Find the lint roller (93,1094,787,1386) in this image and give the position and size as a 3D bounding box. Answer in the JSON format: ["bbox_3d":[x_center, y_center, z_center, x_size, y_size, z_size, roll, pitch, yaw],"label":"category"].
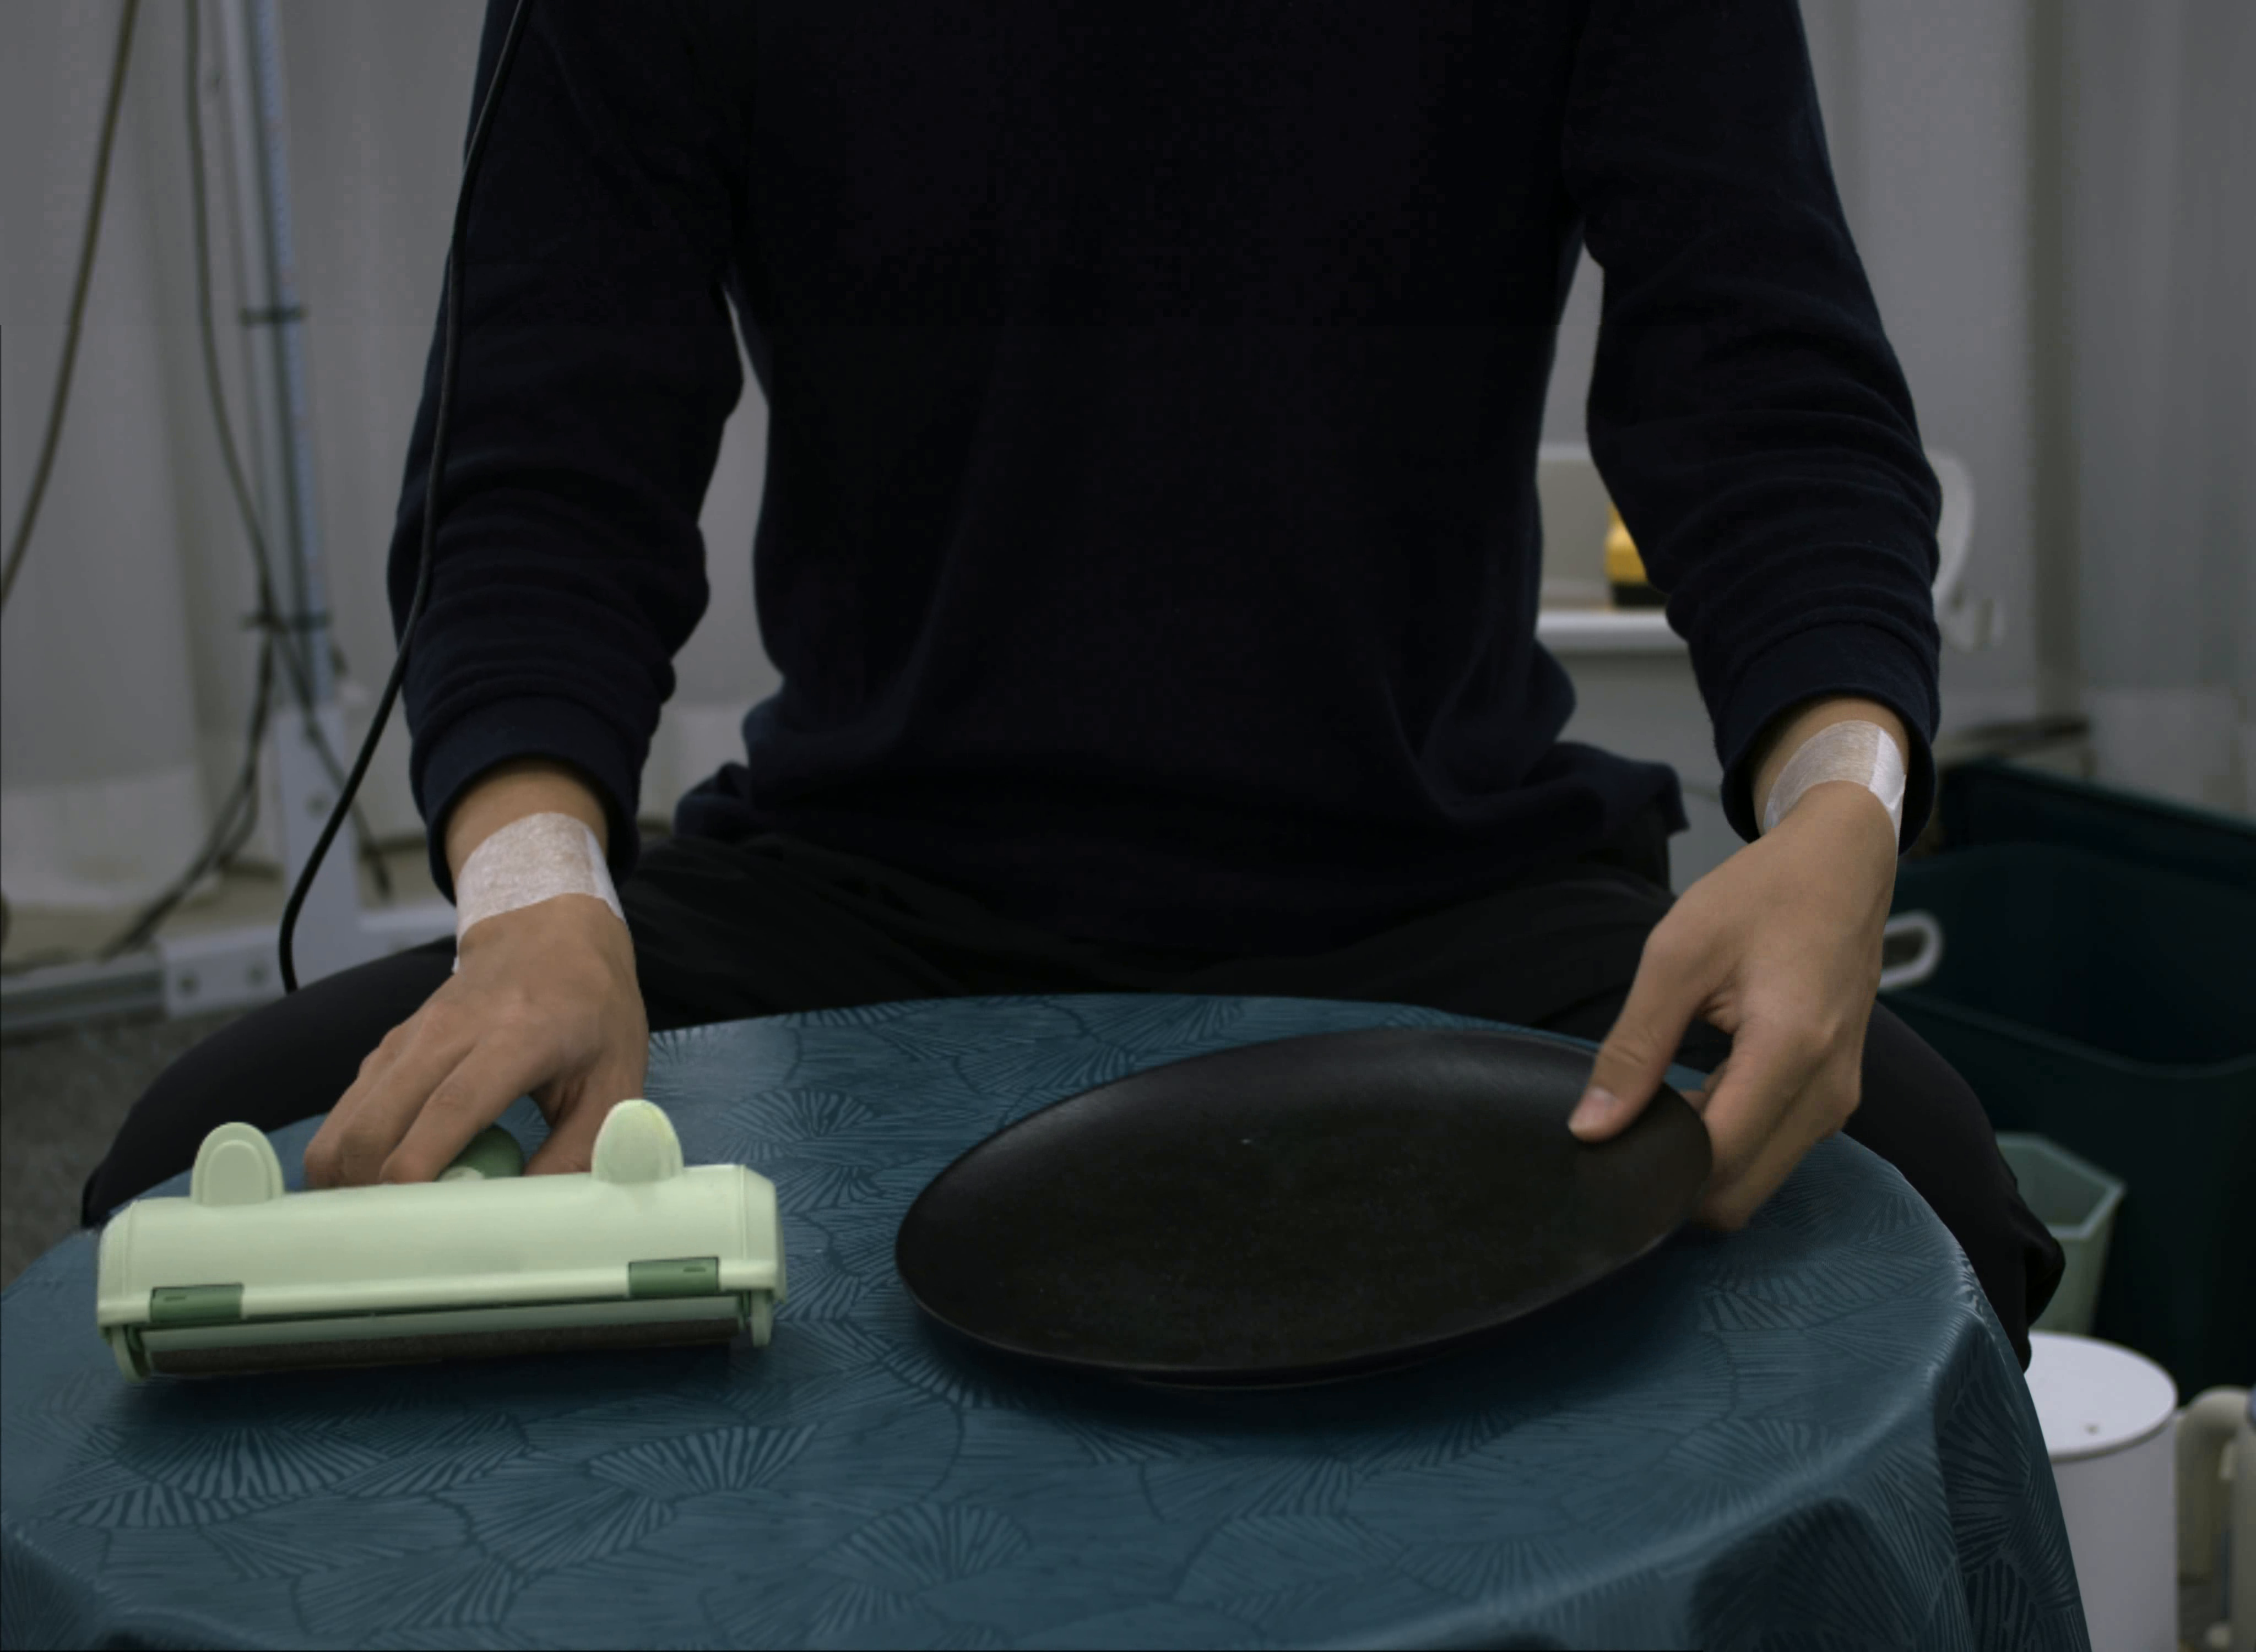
[{"bbox_3d":[-0.202,0.101,1.634,0.198,0.081,0.185,-3,23,-2],"label":"lint roller"}]

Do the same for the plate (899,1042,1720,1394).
[{"bbox_3d":[0.054,0.118,1.612,0.243,0.023,0.246,-7,18,2],"label":"plate"}]
